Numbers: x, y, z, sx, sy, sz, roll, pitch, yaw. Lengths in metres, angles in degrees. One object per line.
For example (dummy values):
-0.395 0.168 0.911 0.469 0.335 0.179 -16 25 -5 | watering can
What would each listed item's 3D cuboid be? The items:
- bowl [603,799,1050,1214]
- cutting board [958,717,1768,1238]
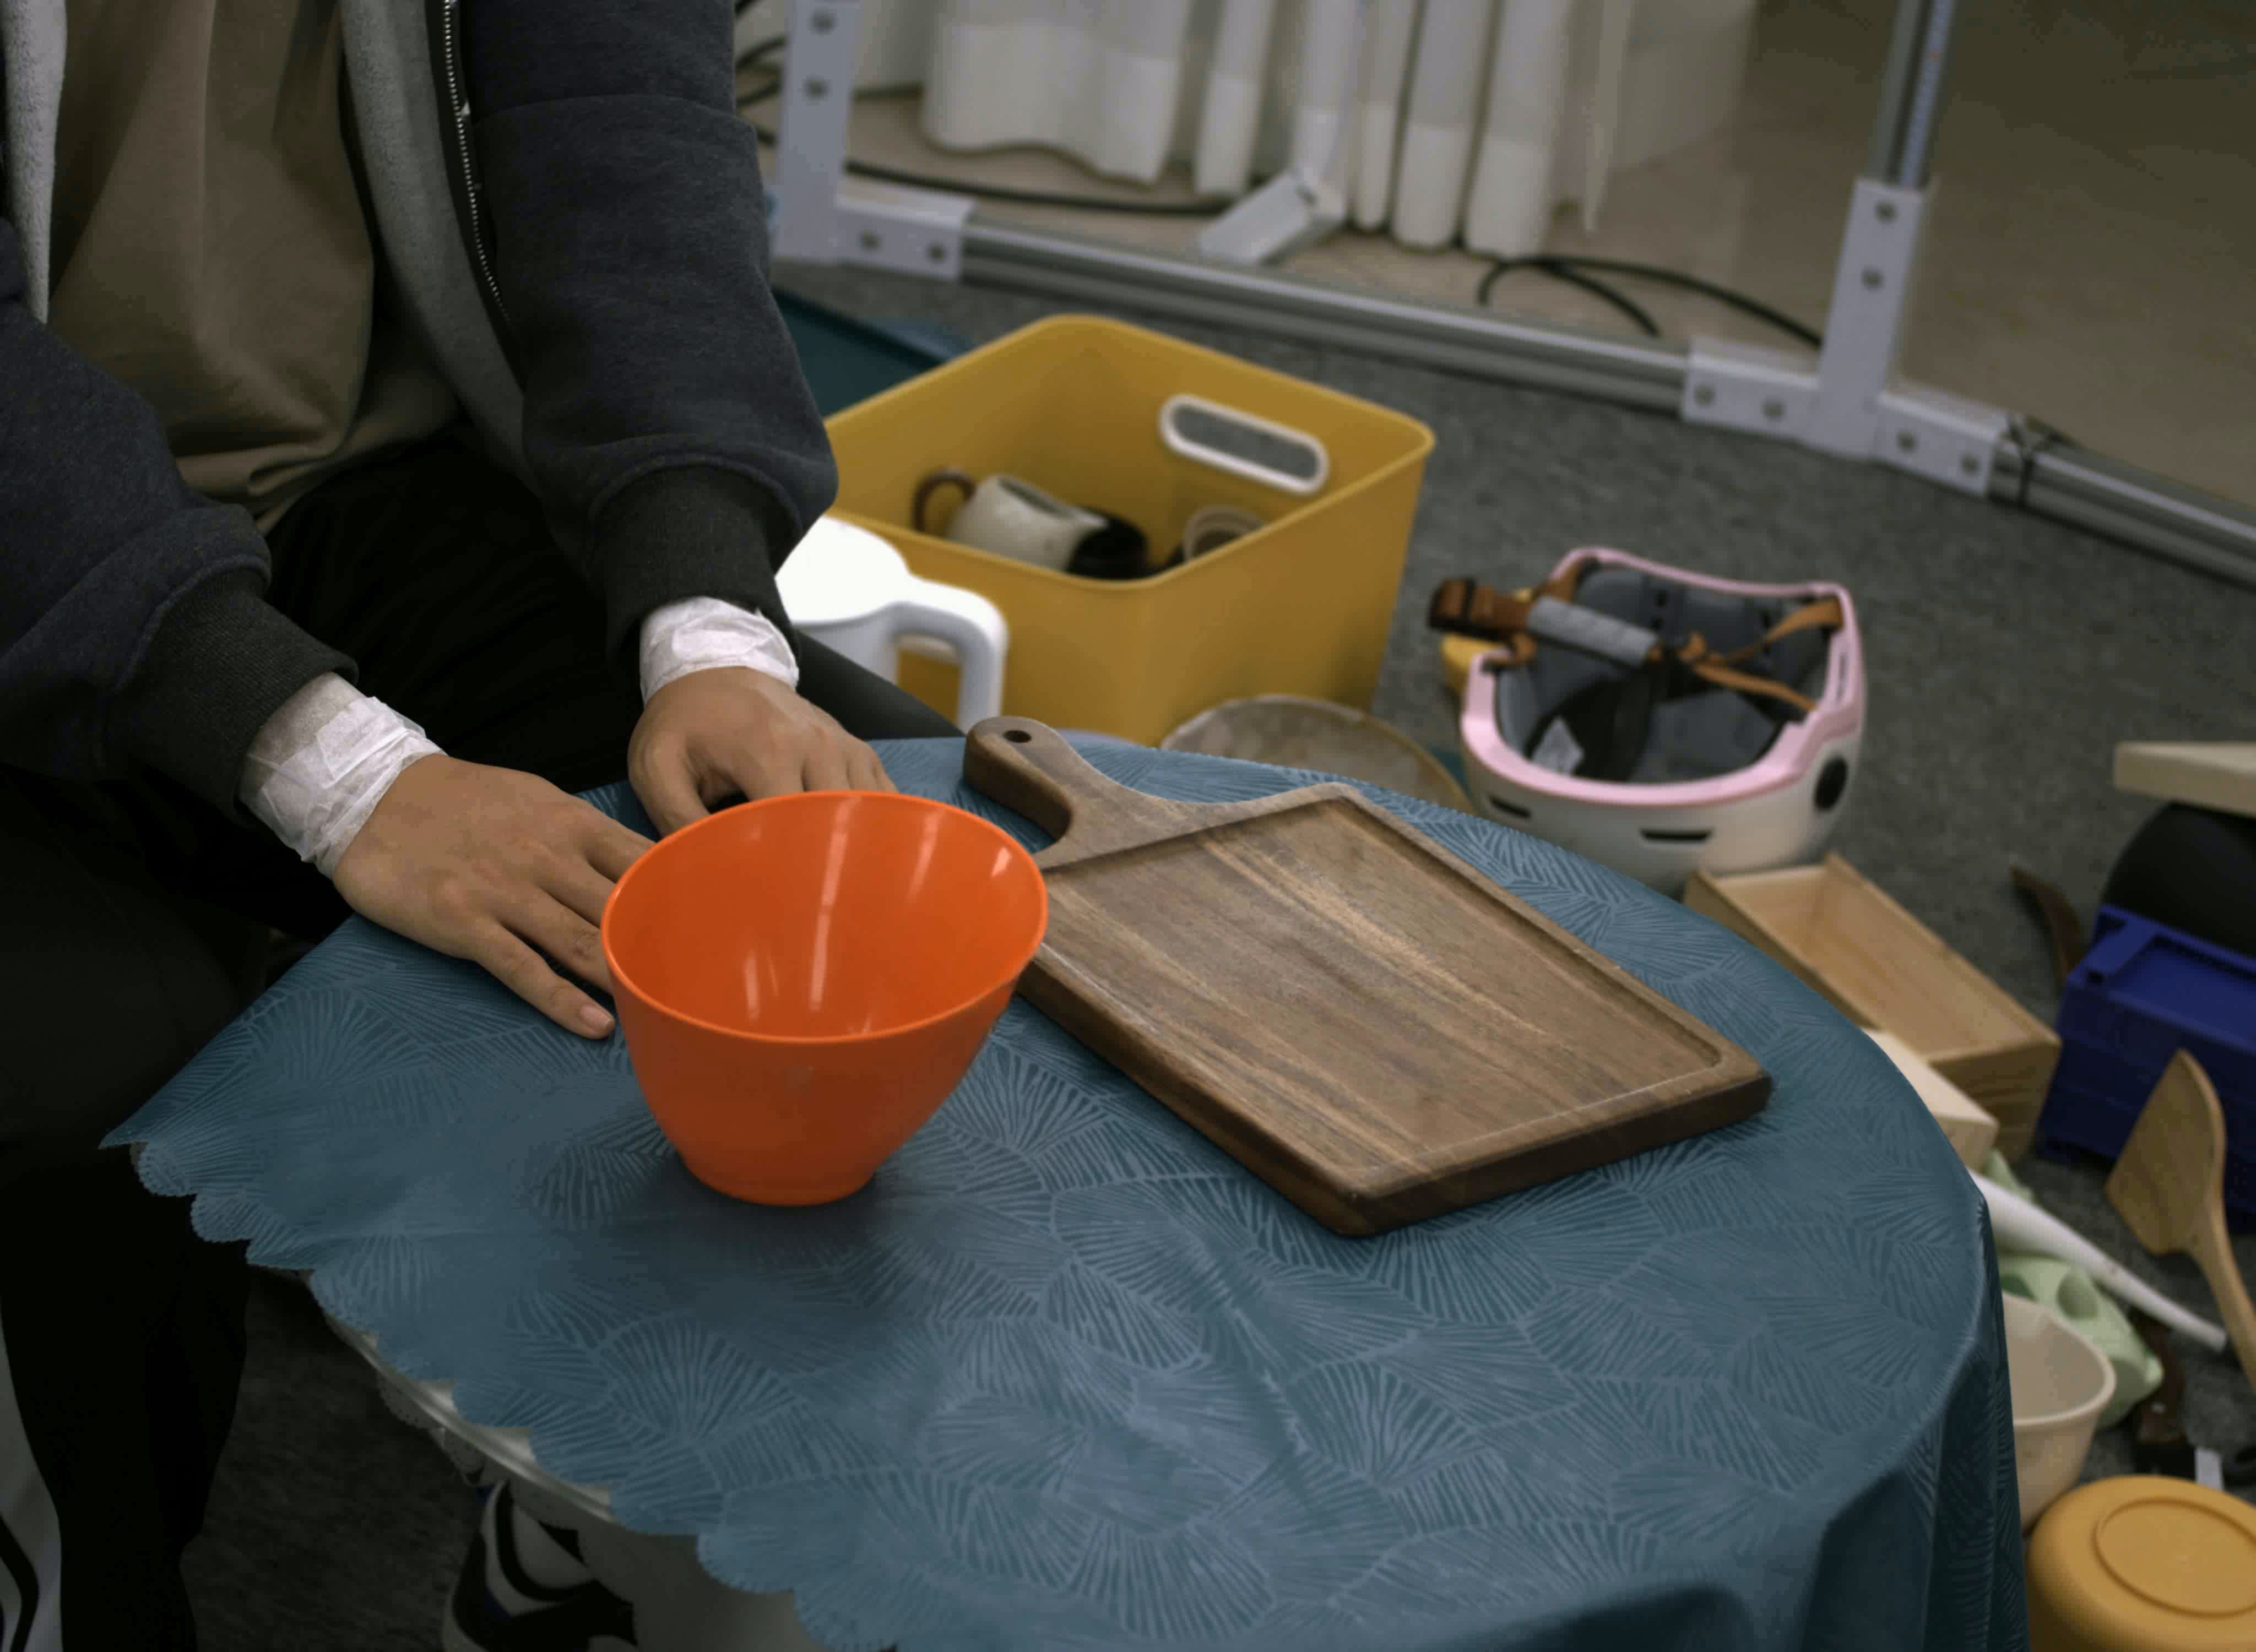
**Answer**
-0.103 0.066 1.781 0.147 0.104 0.149 5 26 -3 | bowl
0.049 0.040 1.955 0.200 0.023 0.355 -14 33 -35 | cutting board
